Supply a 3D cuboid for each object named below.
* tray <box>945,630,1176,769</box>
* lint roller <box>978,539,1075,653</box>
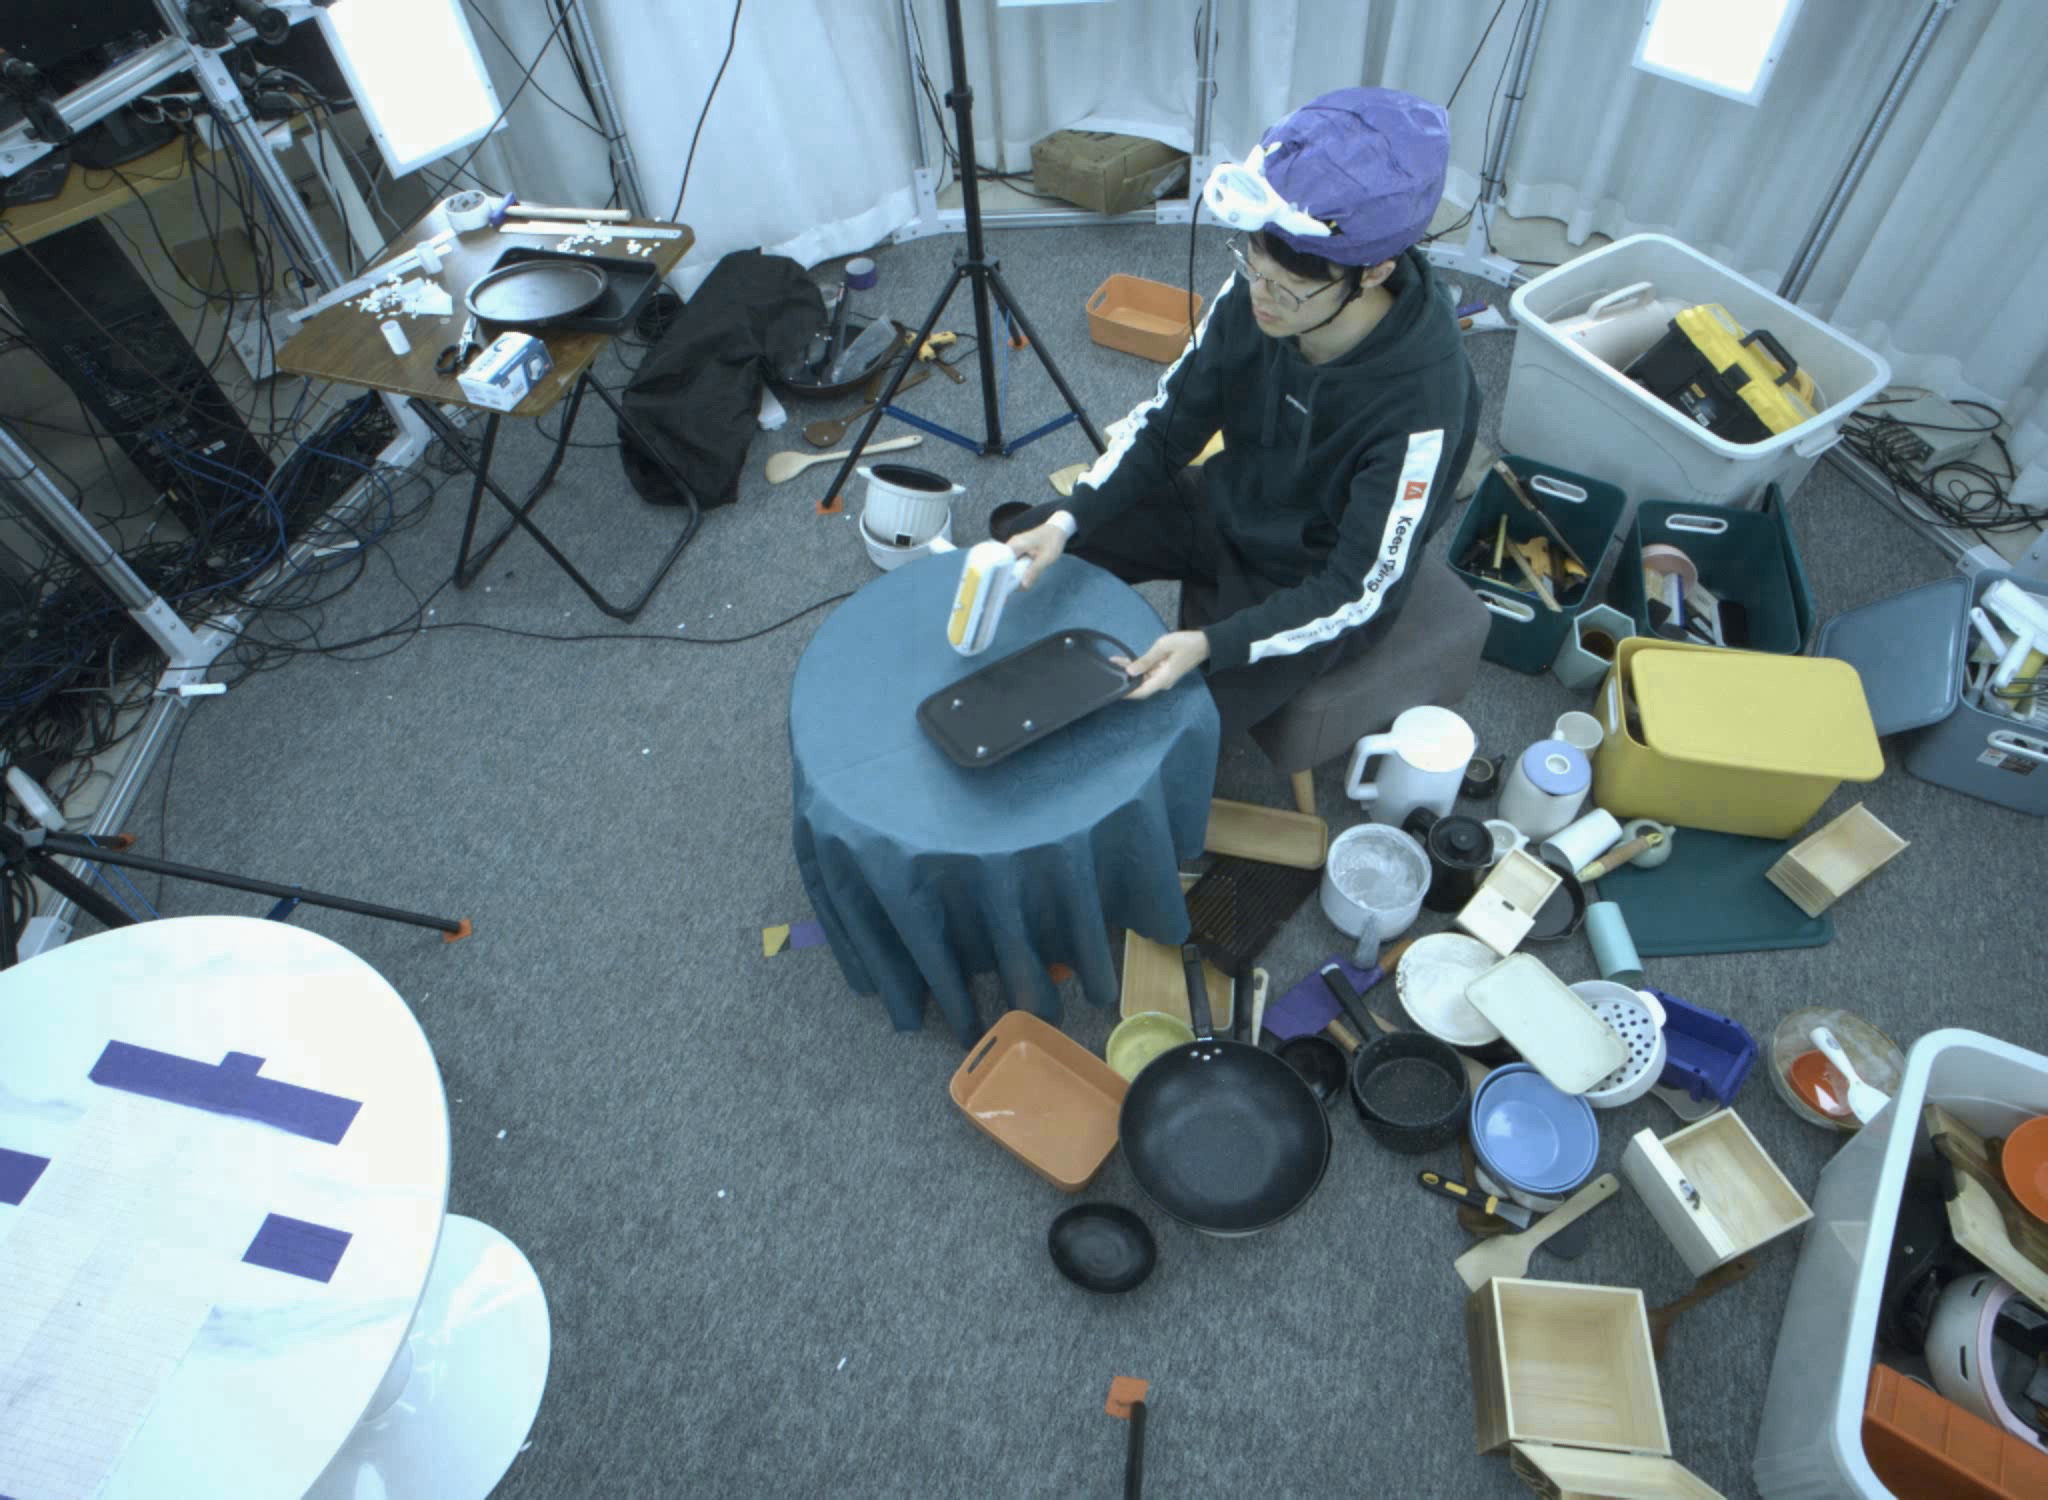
[{"bbox_3d":[0.056,-0.084,1.777,0.328,0.010,0.206,-26,41,-15],"label":"tray"},{"bbox_3d":[0.022,-0.245,1.833,0.073,0.193,0.195,42,42,23],"label":"lint roller"}]
